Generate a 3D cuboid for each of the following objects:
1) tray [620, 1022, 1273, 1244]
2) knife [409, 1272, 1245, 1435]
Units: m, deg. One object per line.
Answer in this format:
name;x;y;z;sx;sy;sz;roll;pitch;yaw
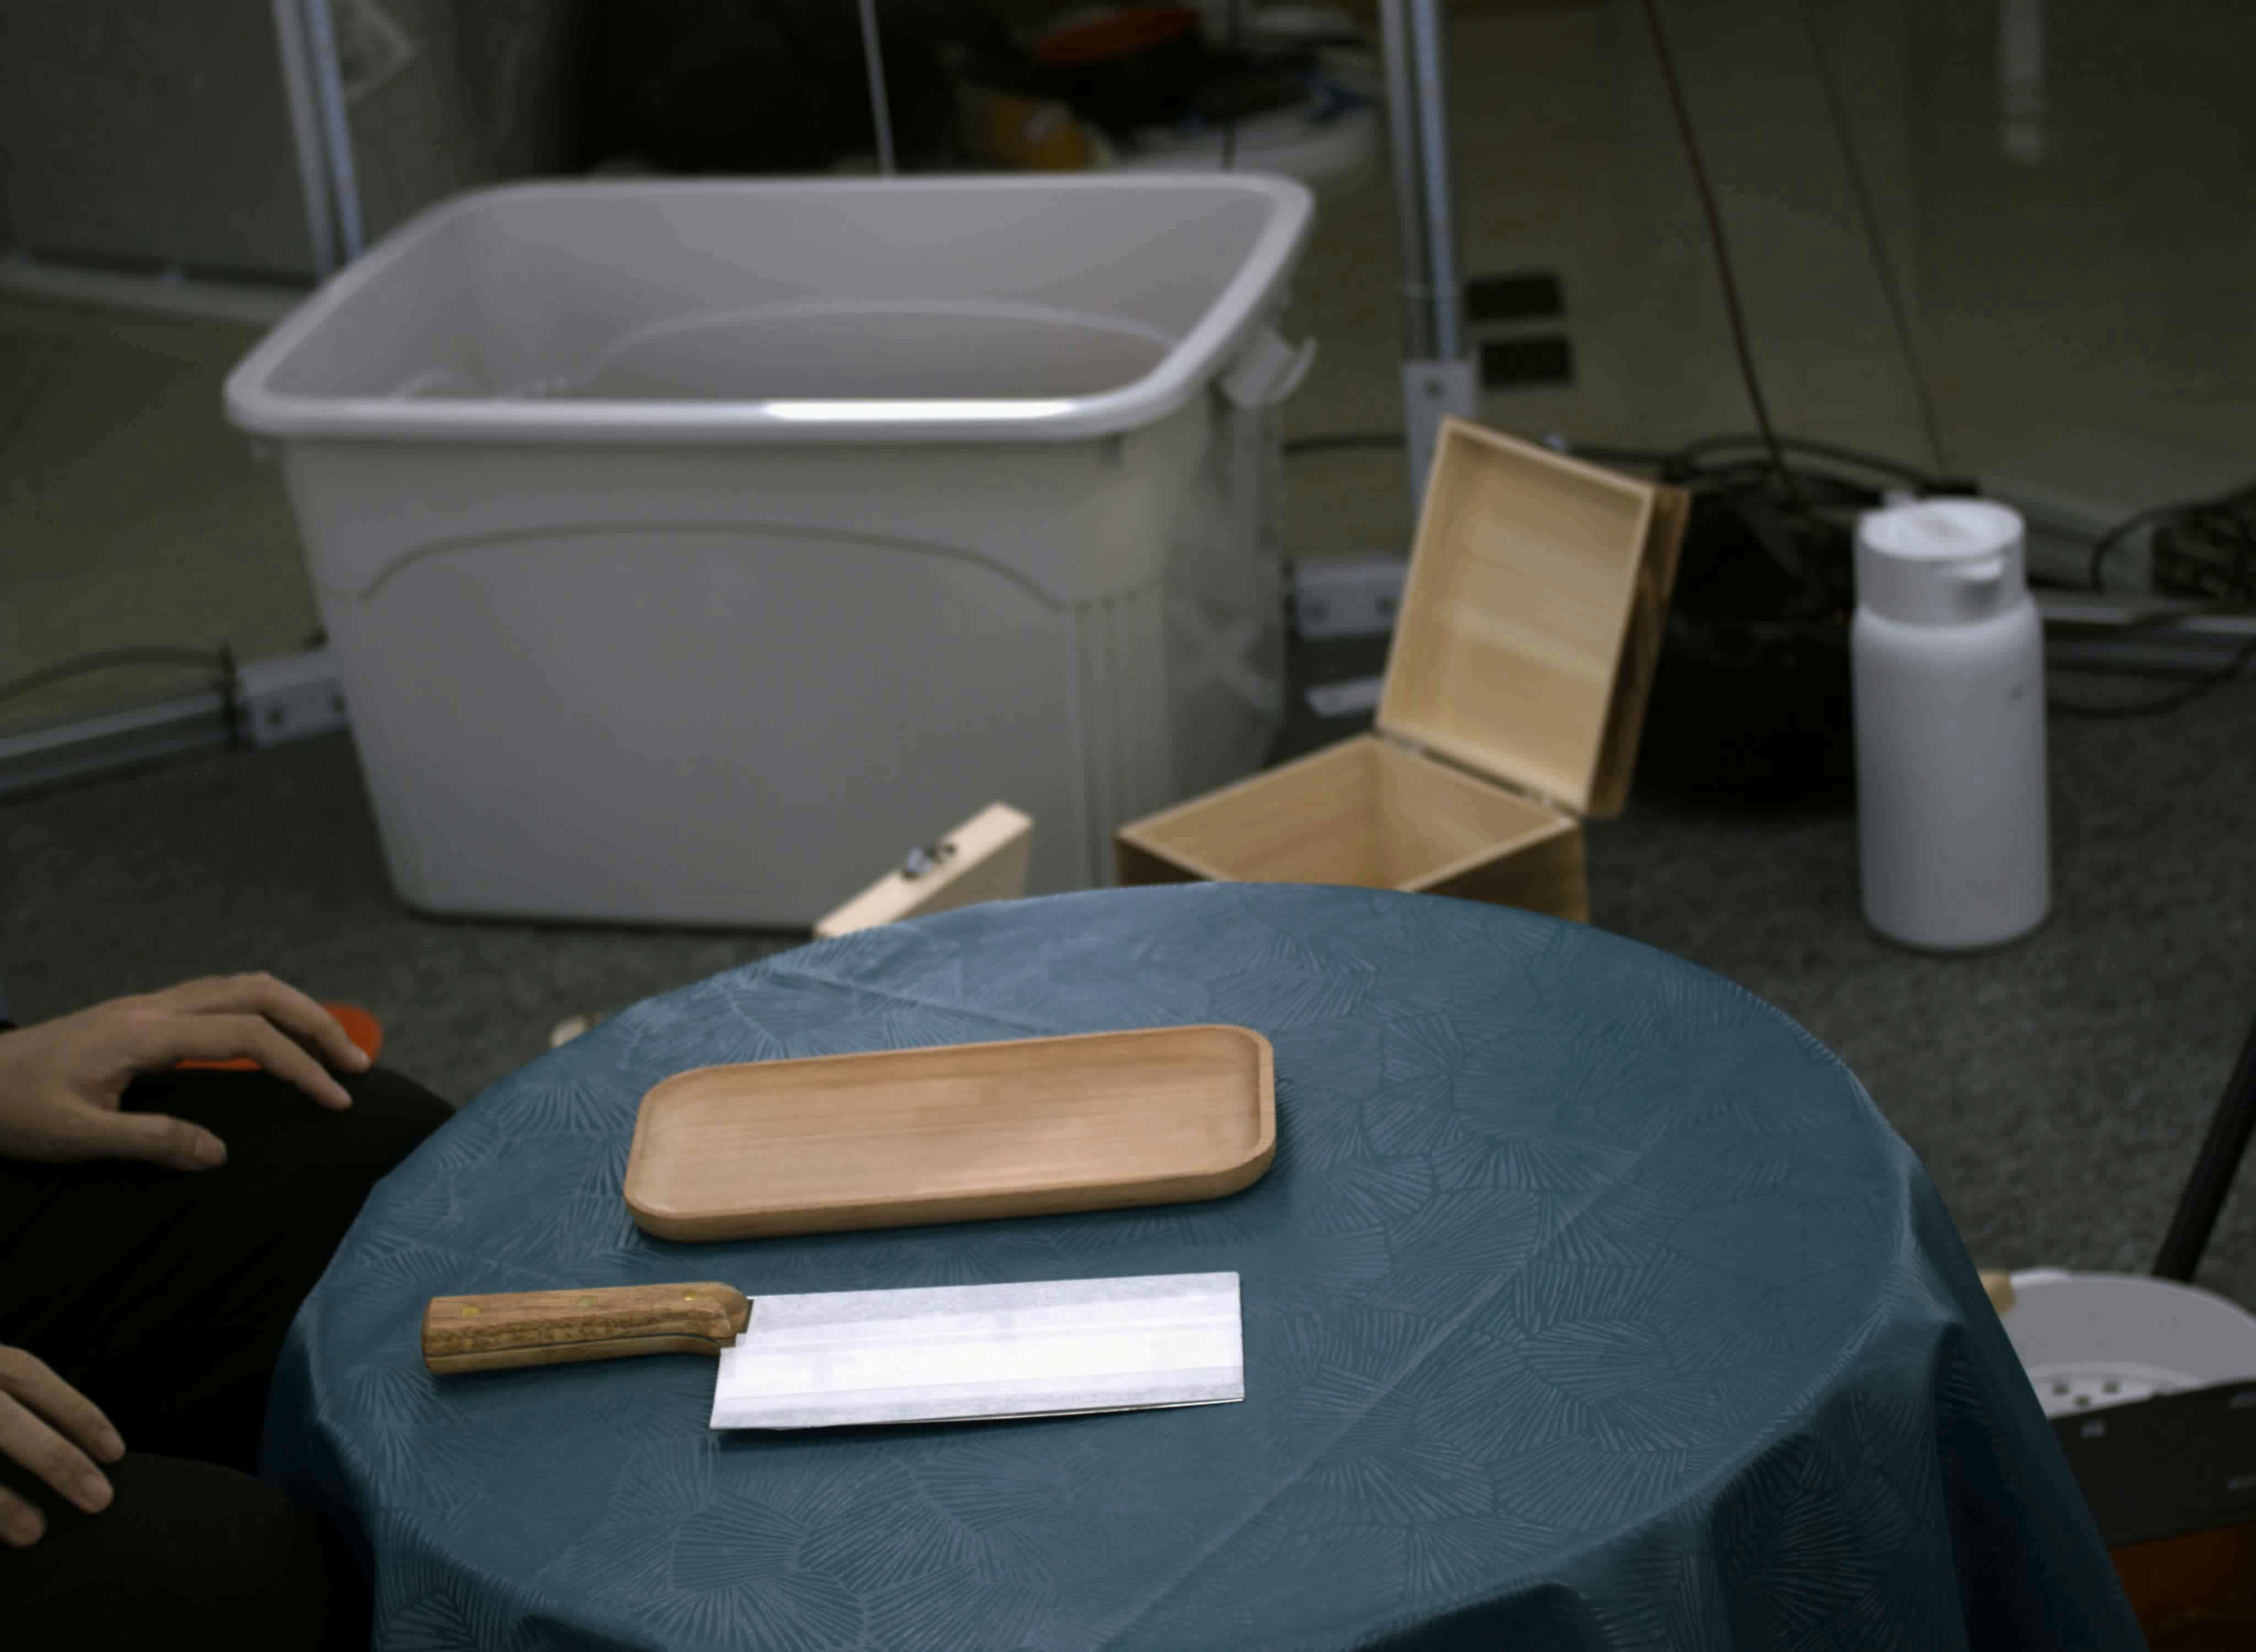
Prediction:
tray;-0.068;0.119;2.189;0.250;0.023;0.129;-5;23;5
knife;-0.111;0.191;2.045;0.305;0.021;0.091;-3;26;1
